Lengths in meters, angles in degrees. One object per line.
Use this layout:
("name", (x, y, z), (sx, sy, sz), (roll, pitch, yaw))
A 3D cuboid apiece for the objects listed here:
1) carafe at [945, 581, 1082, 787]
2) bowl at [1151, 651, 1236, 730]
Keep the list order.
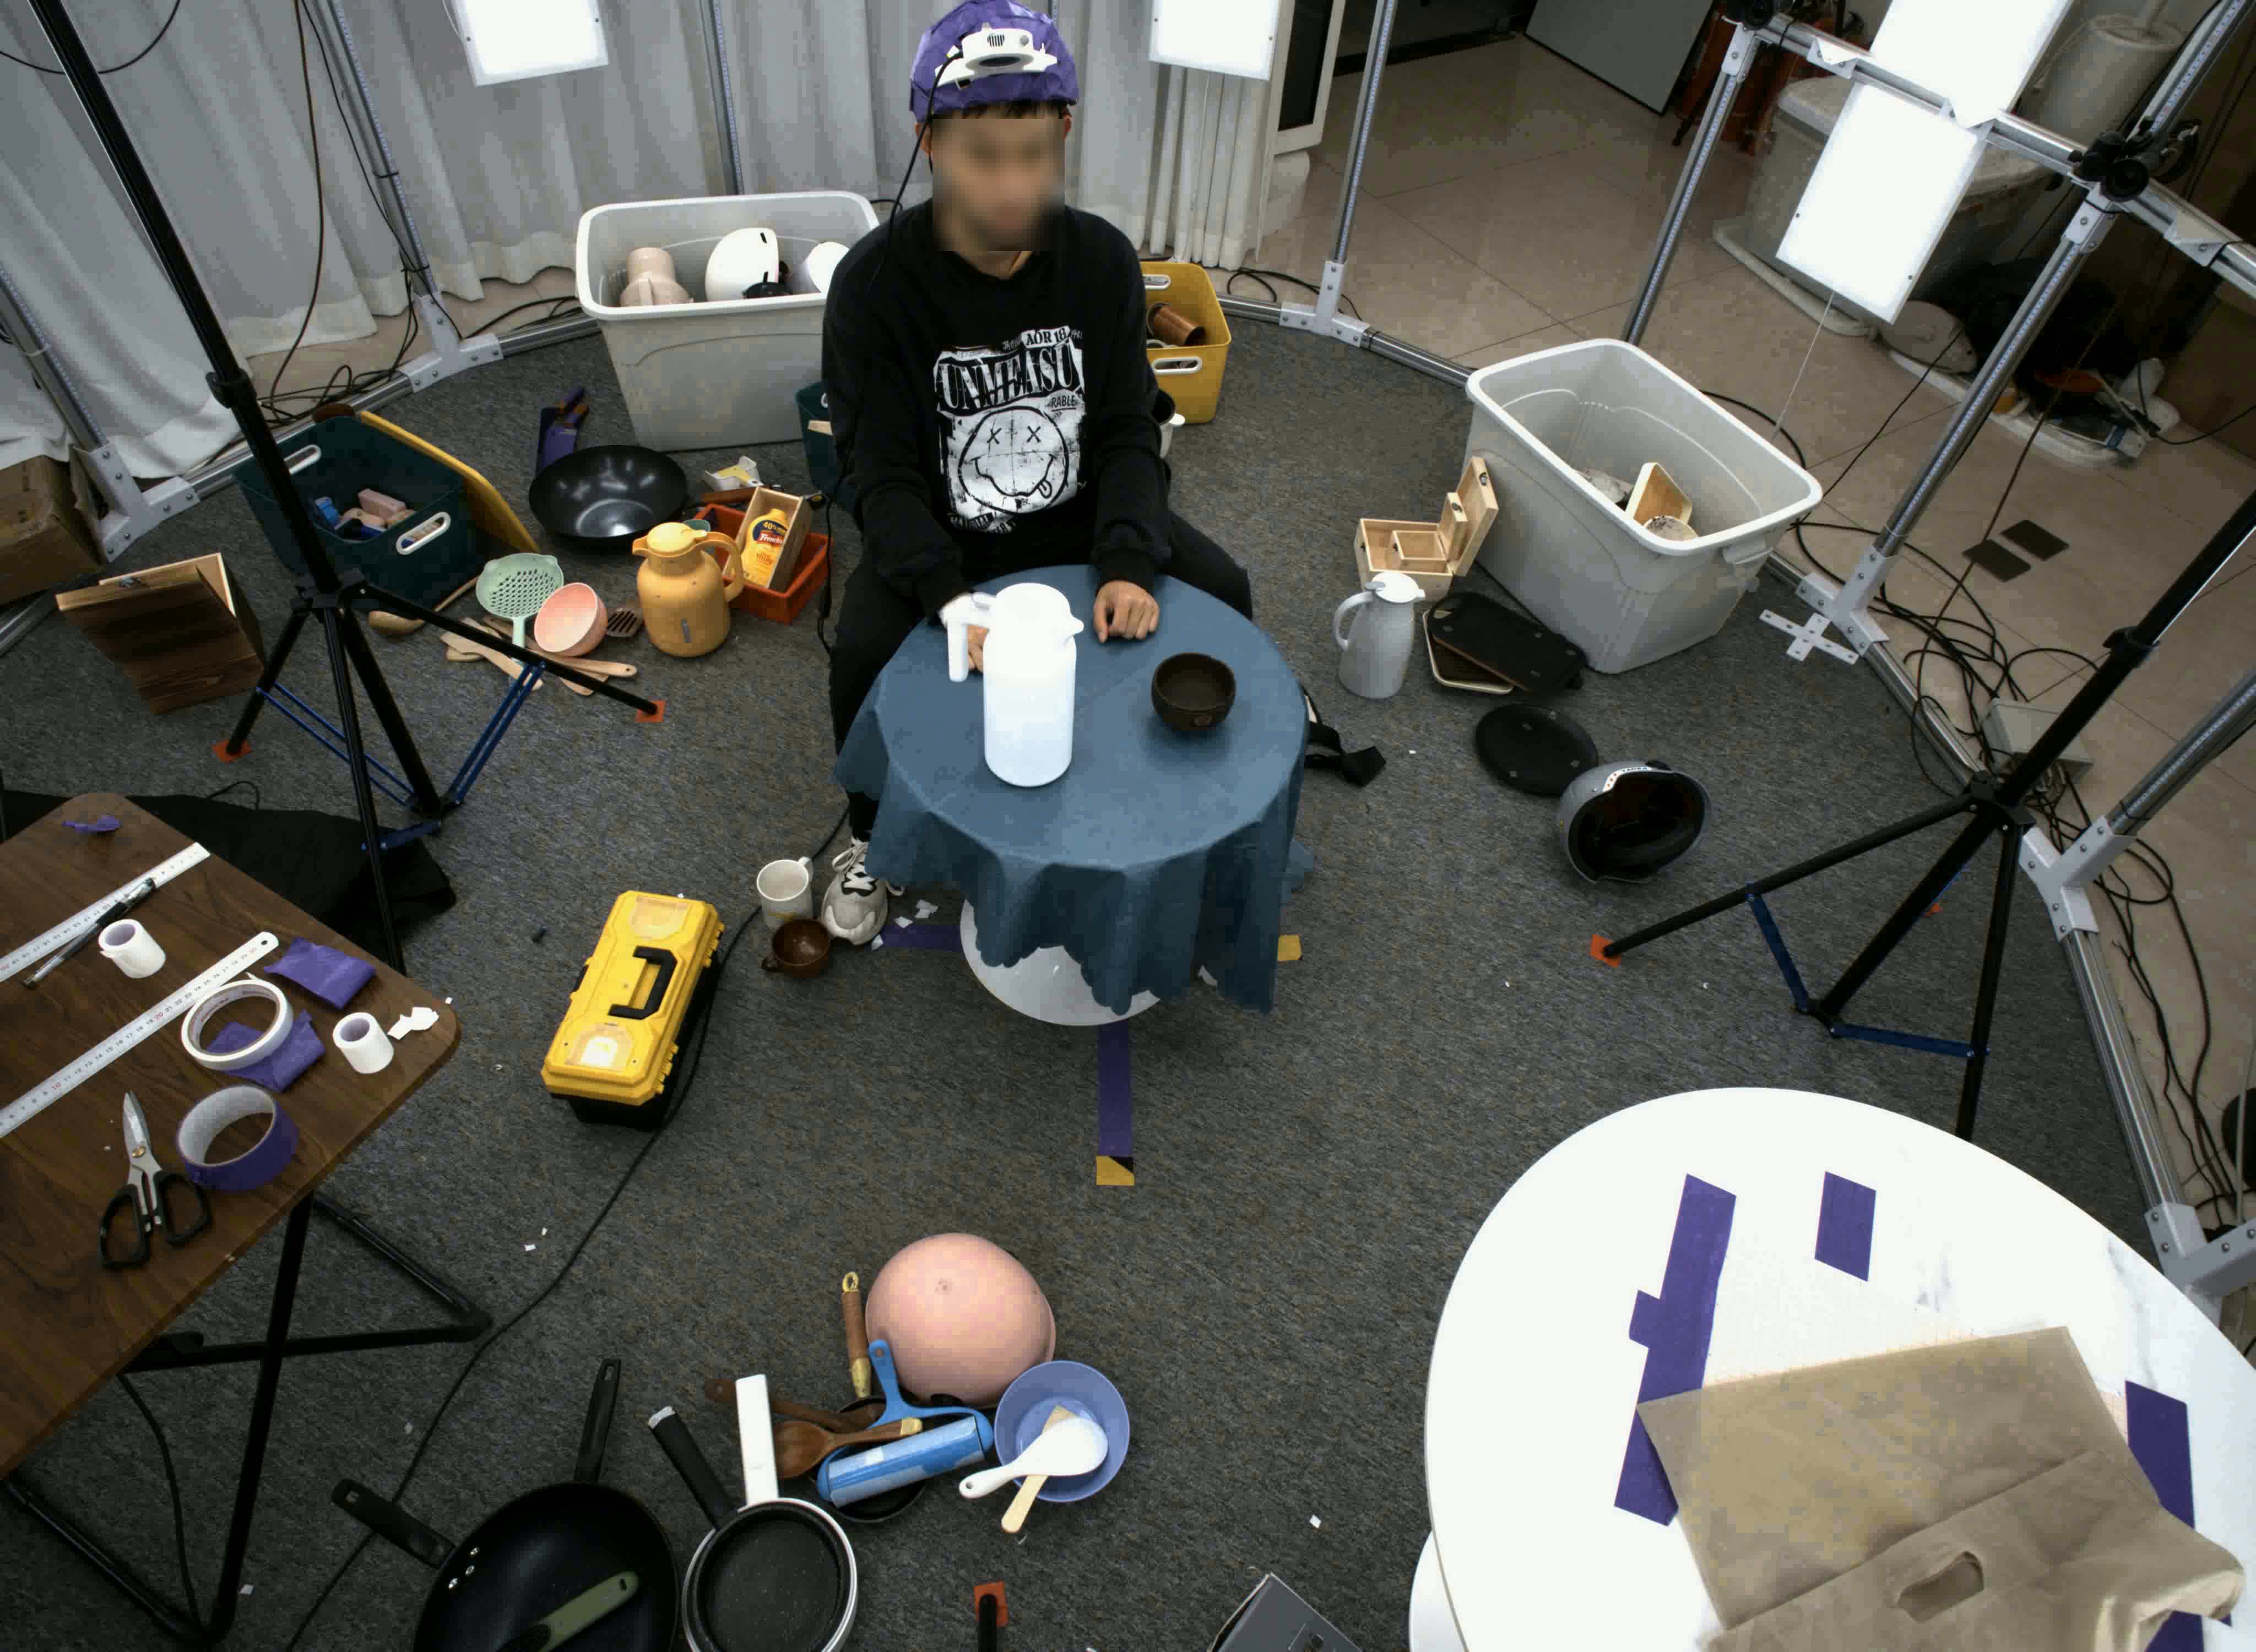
("carafe", (-0.146, -0.180, 1.644), (0.173, 0.262, 0.126), (13, 51, 7))
("bowl", (0.090, -0.180, 1.783), (0.118, 0.068, 0.121), (1, 49, -2))
